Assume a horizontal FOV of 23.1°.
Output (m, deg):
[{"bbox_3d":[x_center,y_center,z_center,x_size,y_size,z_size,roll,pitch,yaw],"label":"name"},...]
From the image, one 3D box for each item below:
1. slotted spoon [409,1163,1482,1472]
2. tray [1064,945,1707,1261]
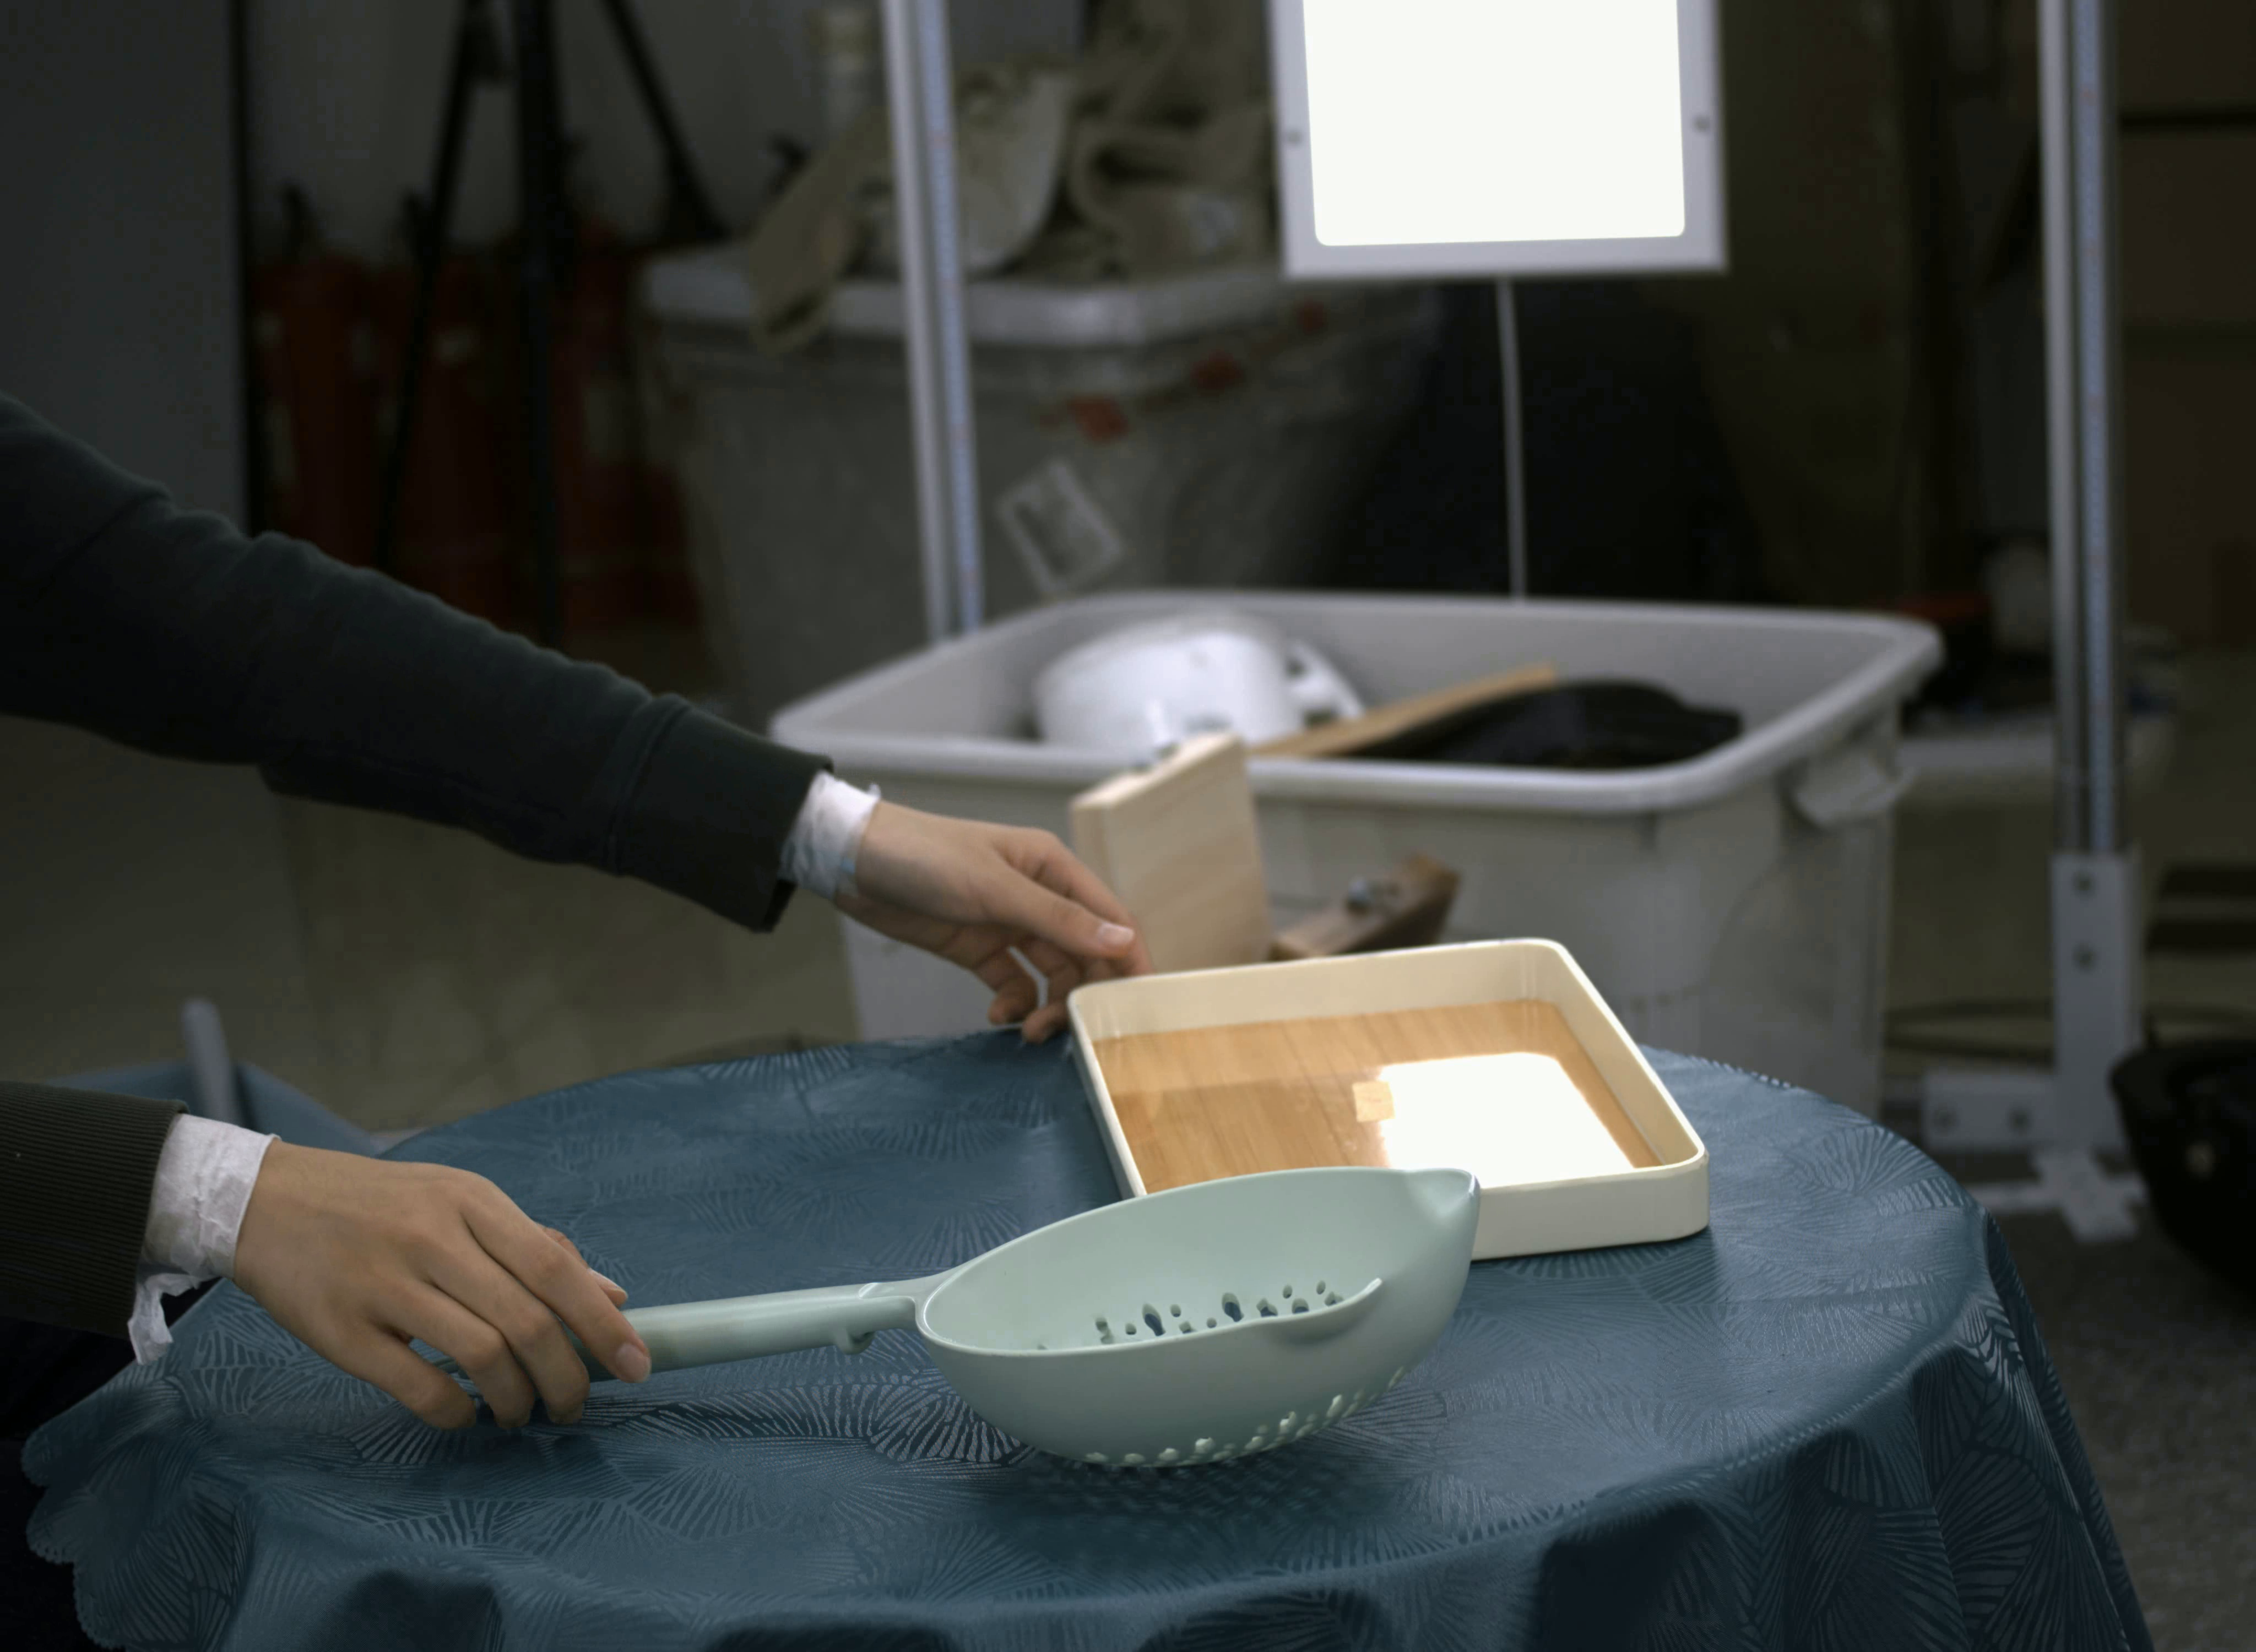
[{"bbox_3d":[-0.065,0.151,1.683,0.364,0.075,0.166,1,15,23],"label":"slotted spoon"},{"bbox_3d":[0.084,0.098,1.930,0.190,0.027,0.301,-6,13,-4],"label":"tray"}]
